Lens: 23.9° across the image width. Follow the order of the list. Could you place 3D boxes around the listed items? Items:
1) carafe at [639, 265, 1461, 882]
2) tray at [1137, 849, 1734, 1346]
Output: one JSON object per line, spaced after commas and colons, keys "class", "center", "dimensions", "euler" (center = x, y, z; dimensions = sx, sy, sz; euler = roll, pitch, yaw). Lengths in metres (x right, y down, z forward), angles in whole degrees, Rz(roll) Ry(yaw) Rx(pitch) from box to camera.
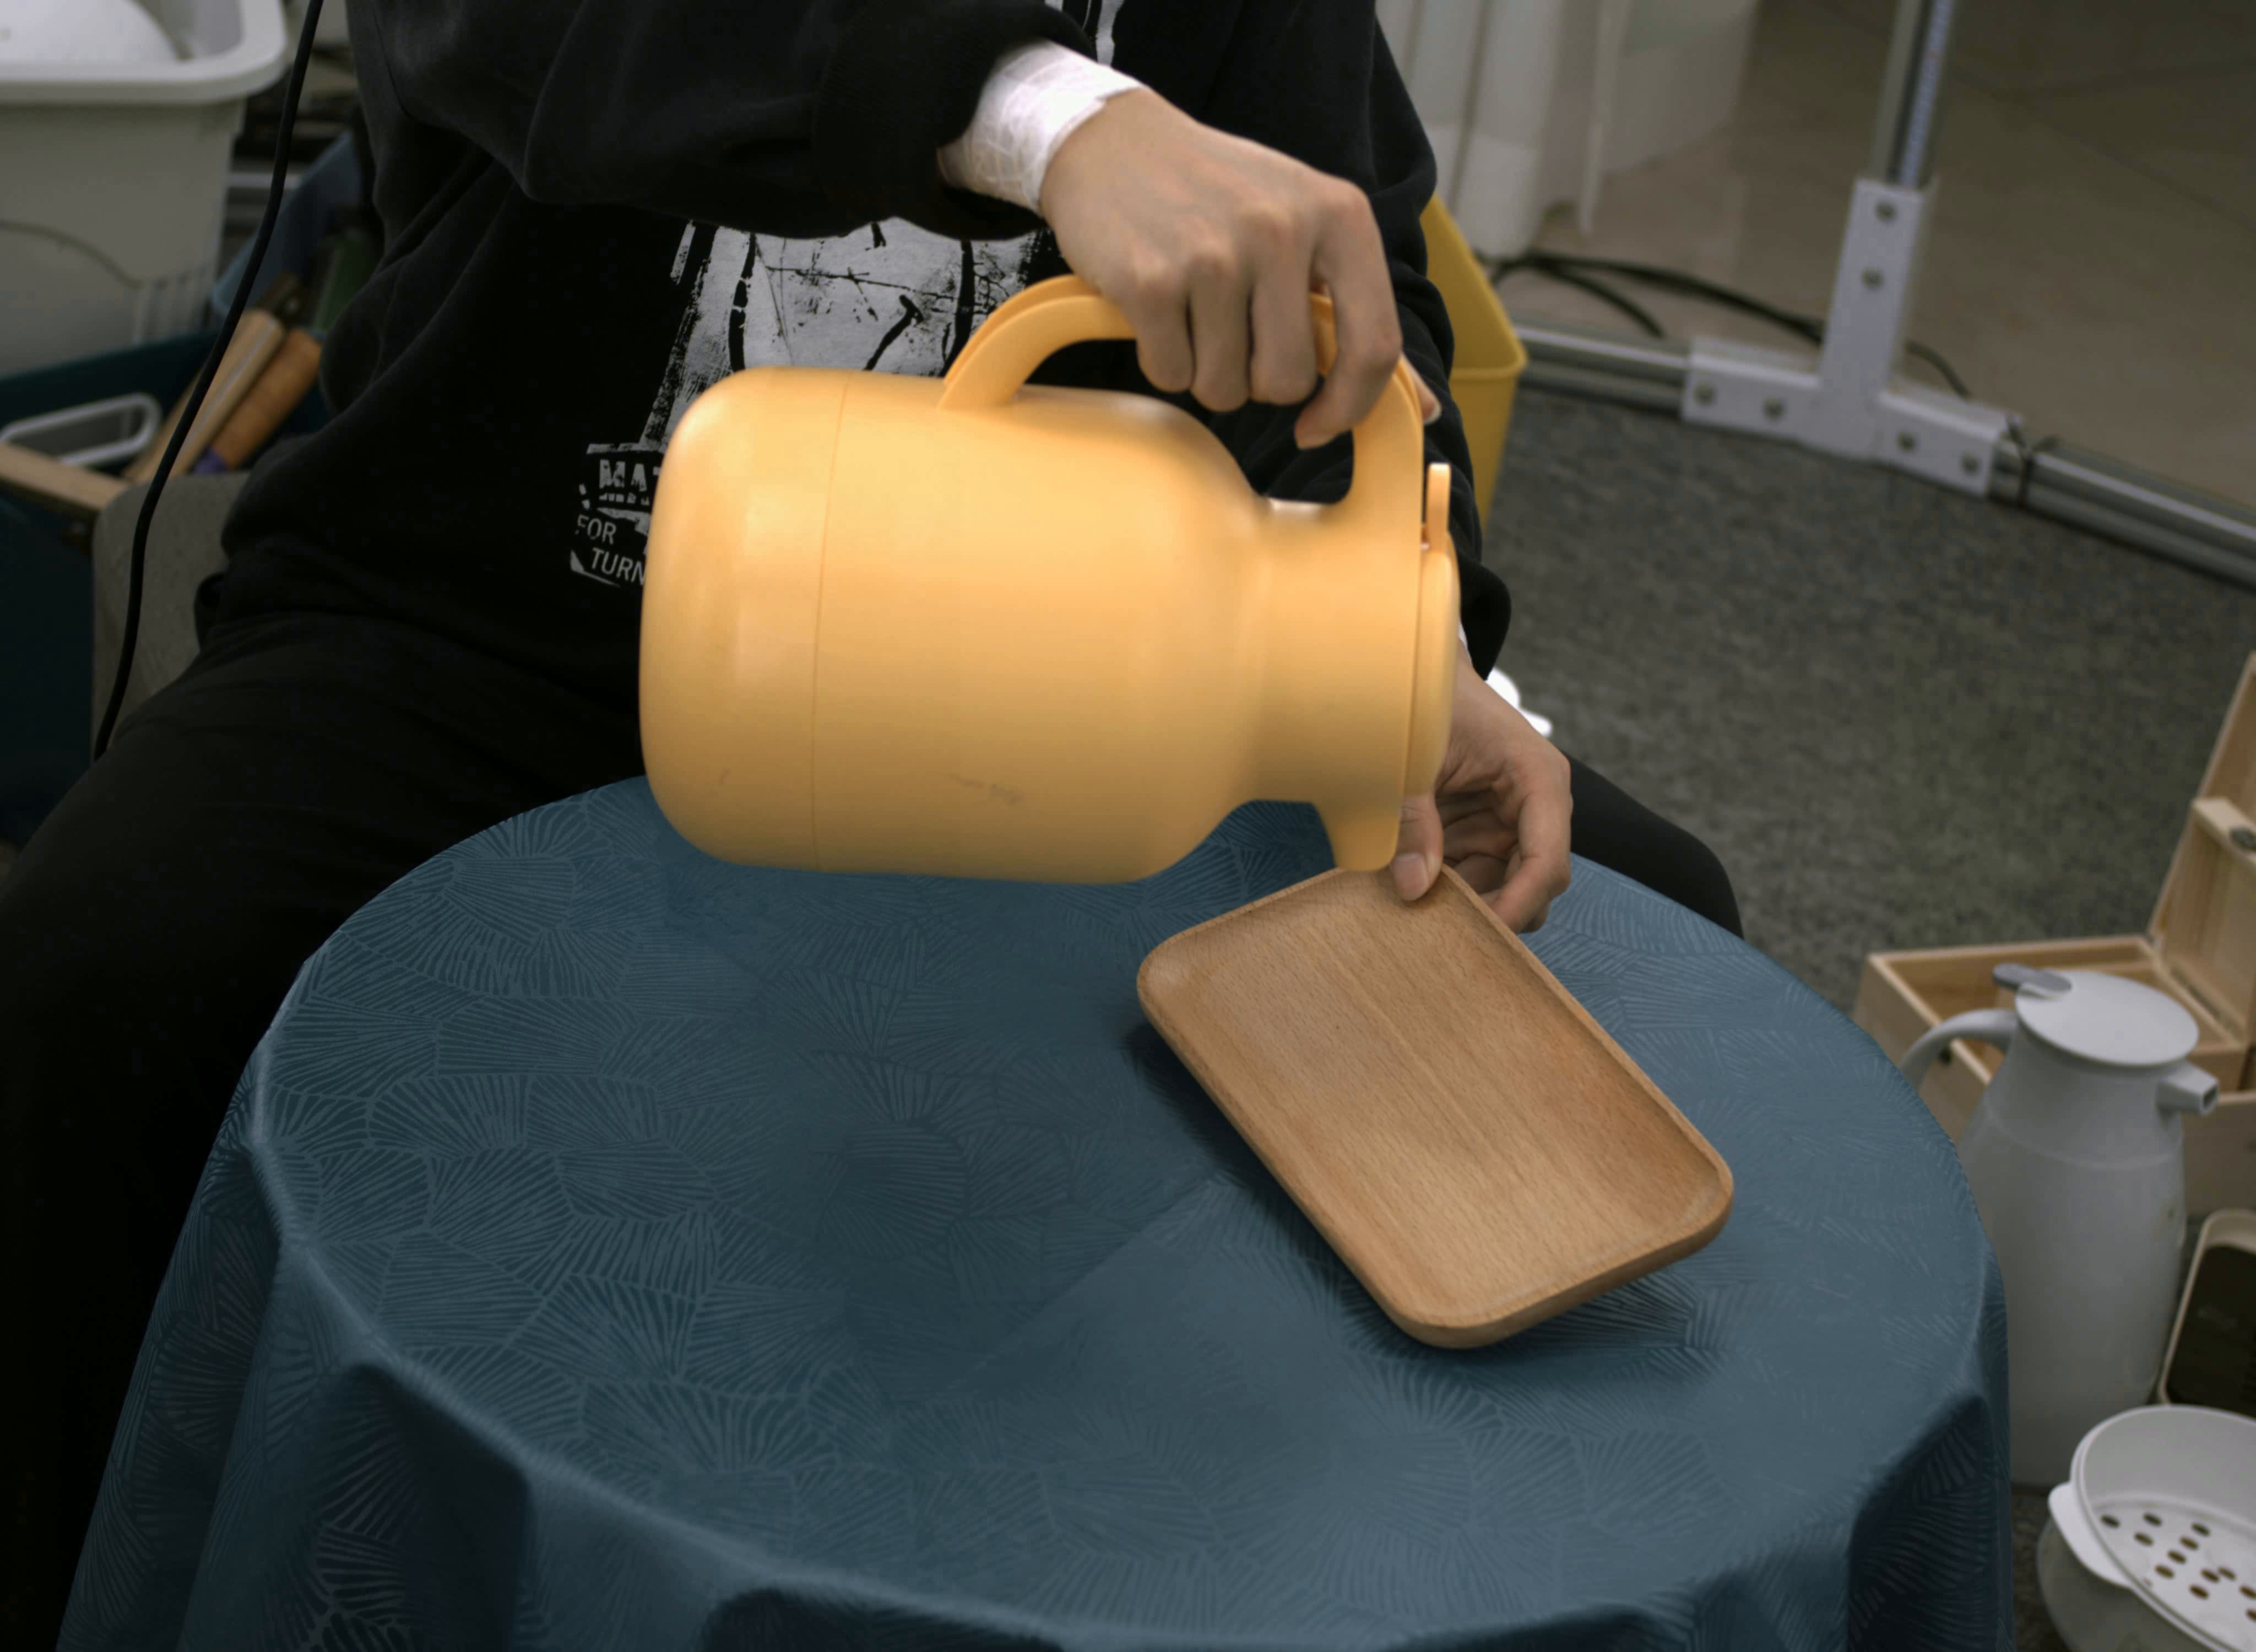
{"class": "carafe", "center": [-0.021, -0.083, 1.717], "dimensions": [0.259, 0.202, 0.164], "euler": [6, 19, -1]}
{"class": "tray", "center": [0.102, 0.090, 1.831], "dimensions": [0.130, 0.023, 0.253], "euler": [-19, 35, -15]}
